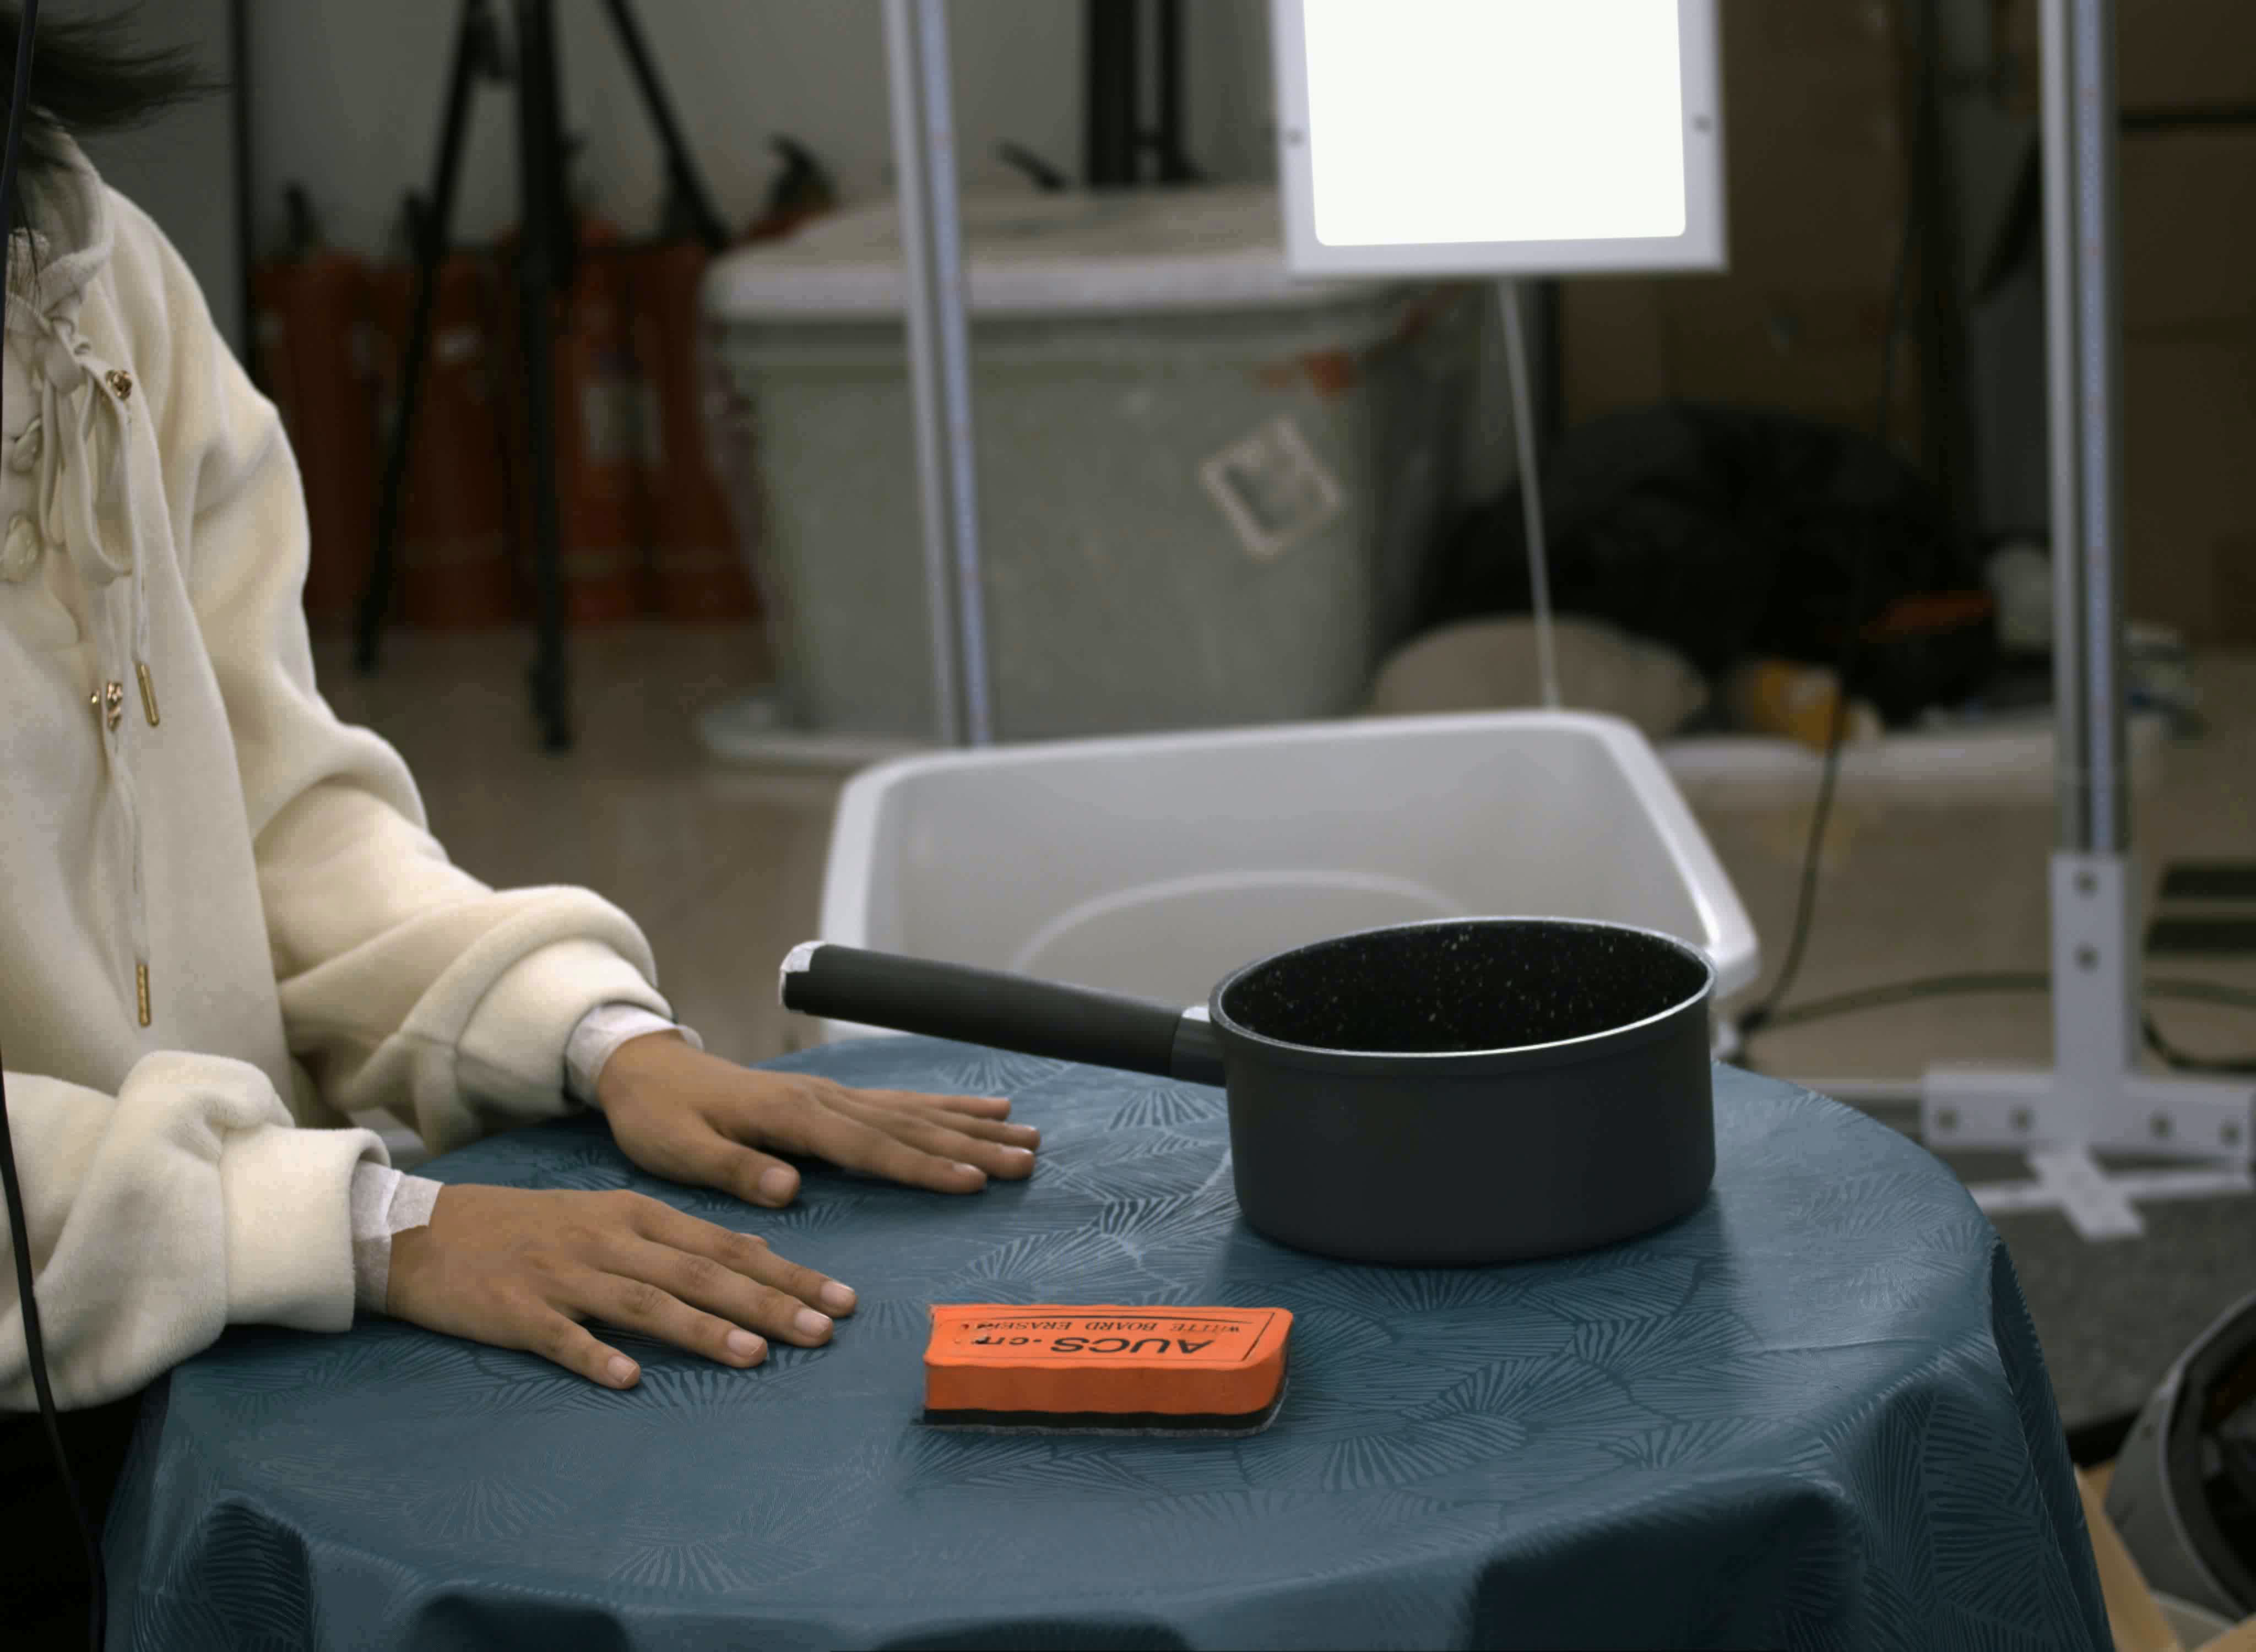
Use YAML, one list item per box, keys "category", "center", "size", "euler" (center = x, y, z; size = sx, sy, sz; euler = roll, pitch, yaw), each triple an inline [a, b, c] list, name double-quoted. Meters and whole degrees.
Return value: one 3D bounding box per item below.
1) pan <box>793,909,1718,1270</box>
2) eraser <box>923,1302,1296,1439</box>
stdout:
- category: "pan"
  center: [0.041, 0.084, 1.879]
  size: [0.333, 0.087, 0.169]
  euler: [2, 15, 22]
- category: "eraser"
  center: [-0.005, 0.166, 1.688]
  size: [0.109, 0.023, 0.058]
  euler: [0, 15, 19]
